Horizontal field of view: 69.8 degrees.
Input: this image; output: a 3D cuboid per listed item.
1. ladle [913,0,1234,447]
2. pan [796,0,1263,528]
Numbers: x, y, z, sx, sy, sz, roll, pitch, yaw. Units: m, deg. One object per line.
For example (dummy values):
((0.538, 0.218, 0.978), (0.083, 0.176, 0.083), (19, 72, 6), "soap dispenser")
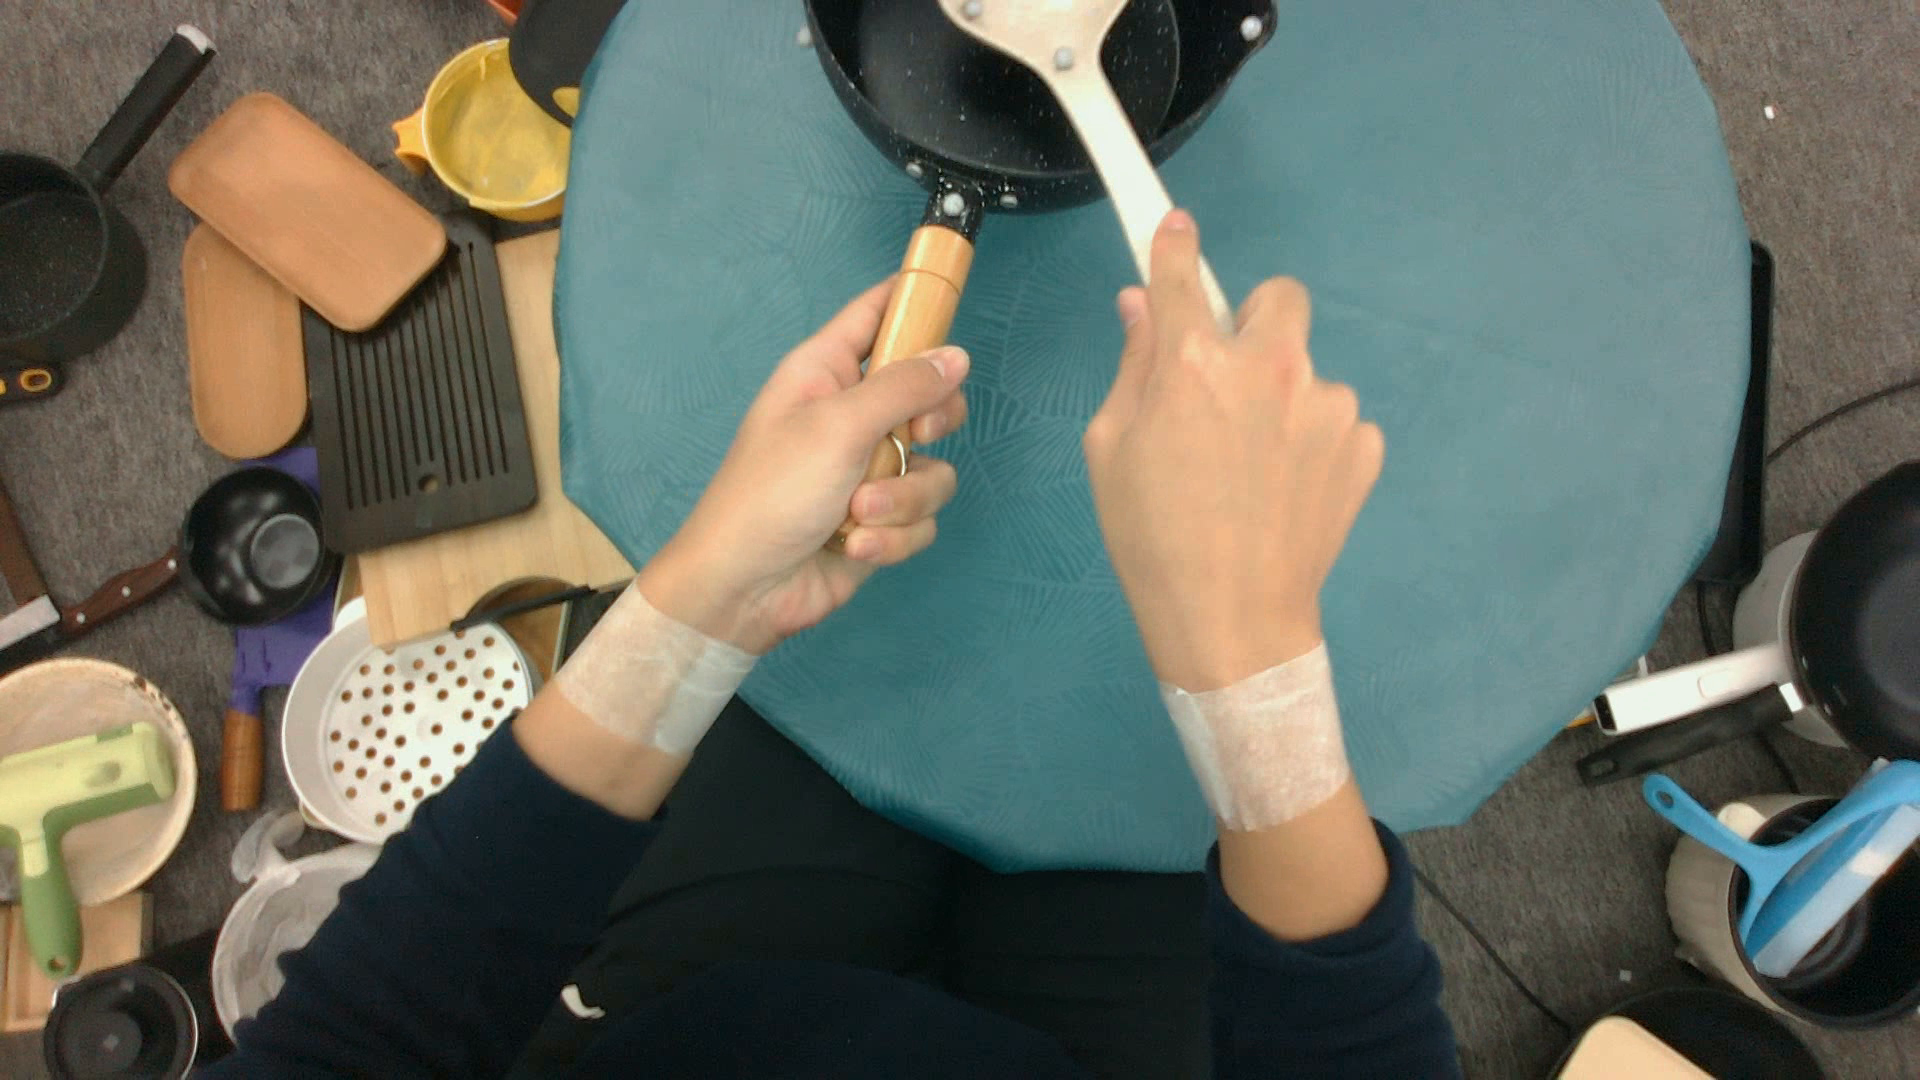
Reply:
((0.049, -0.160, 0.517), (0.089, 0.069, 0.275), (-11, 57, -14), "ladle")
((0.002, -0.160, 0.563), (0.207, 0.108, 0.343), (16, 80, -2), "pan")
